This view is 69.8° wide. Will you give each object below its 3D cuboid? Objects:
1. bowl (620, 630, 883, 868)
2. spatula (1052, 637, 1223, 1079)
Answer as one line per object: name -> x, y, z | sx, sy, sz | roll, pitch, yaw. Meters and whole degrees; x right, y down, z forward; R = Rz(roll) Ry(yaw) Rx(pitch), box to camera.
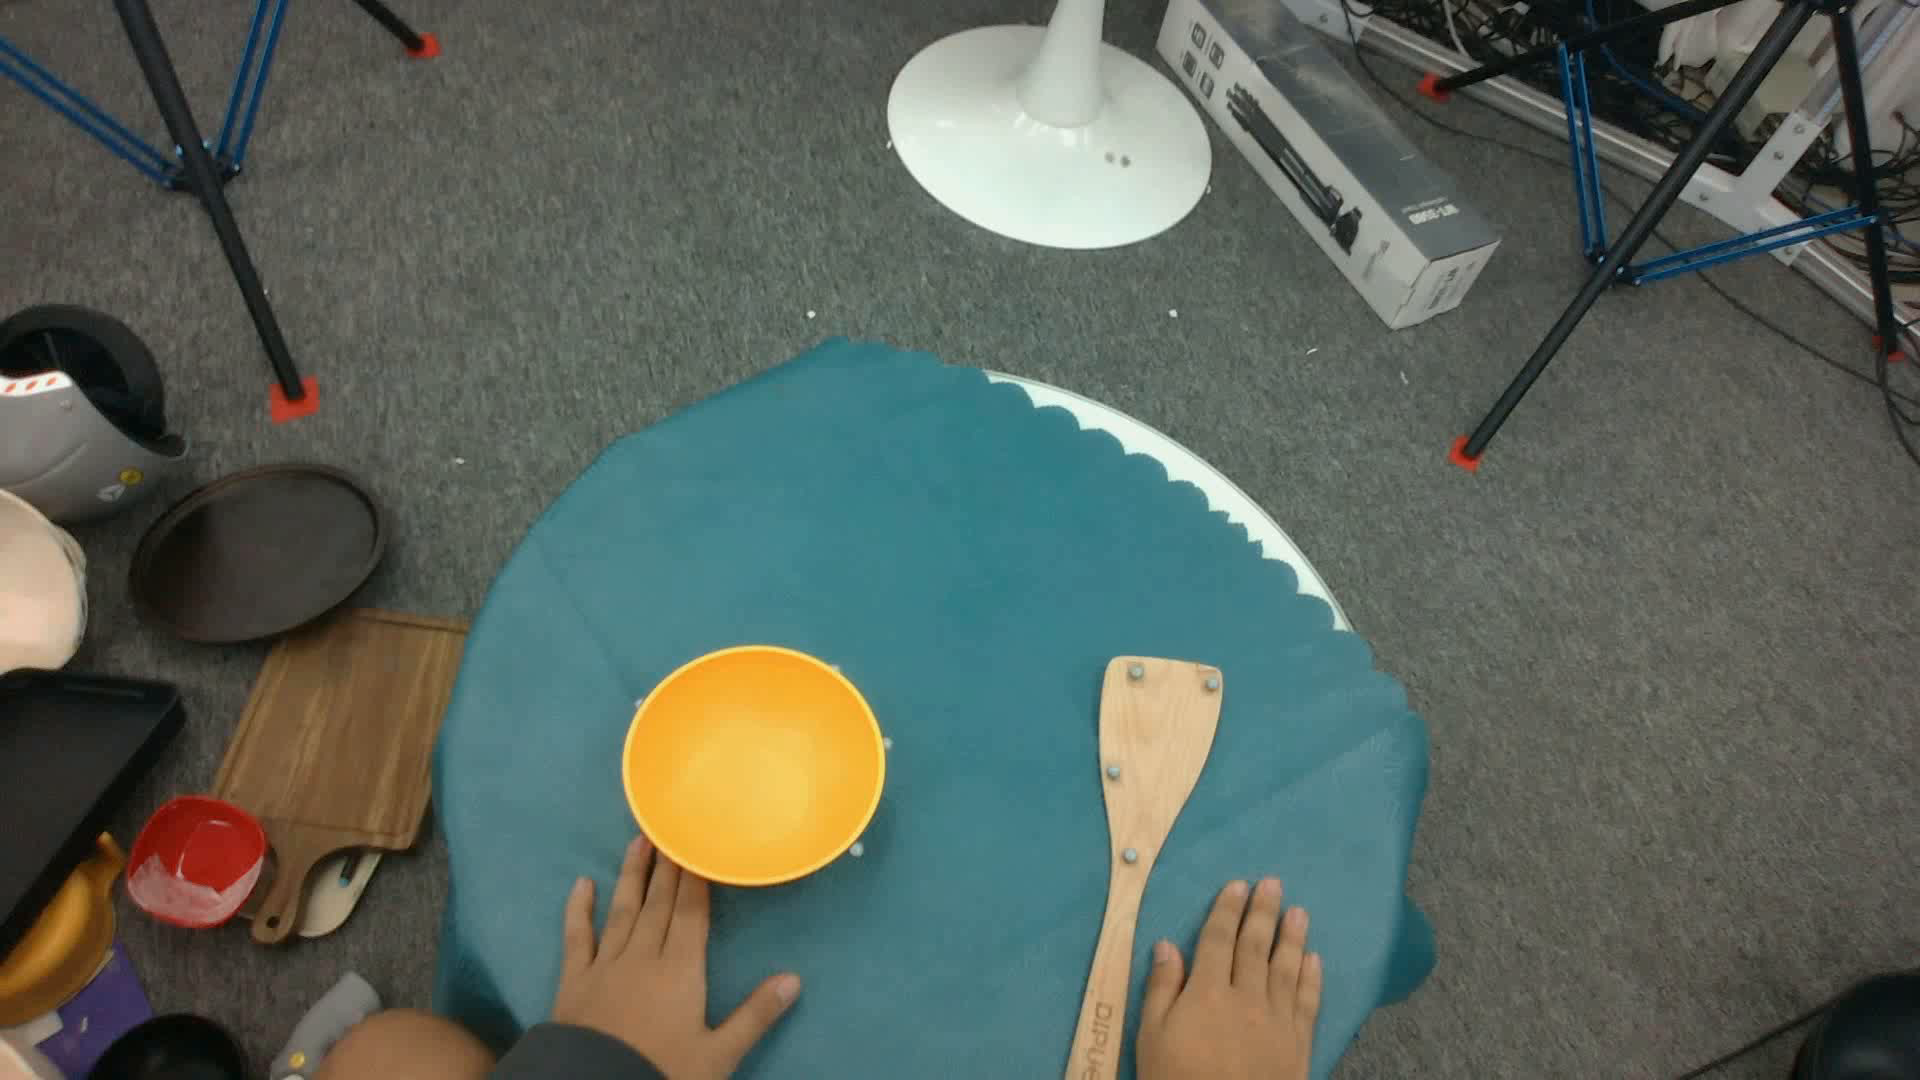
bowl -> -0.119, 0.128, 0.789 | 0.145, 0.060, 0.146 | 4, 55, -6
spatula -> 0.095, 0.195, 0.814 | 0.080, 0.016, 0.329 | 18, 56, 0
